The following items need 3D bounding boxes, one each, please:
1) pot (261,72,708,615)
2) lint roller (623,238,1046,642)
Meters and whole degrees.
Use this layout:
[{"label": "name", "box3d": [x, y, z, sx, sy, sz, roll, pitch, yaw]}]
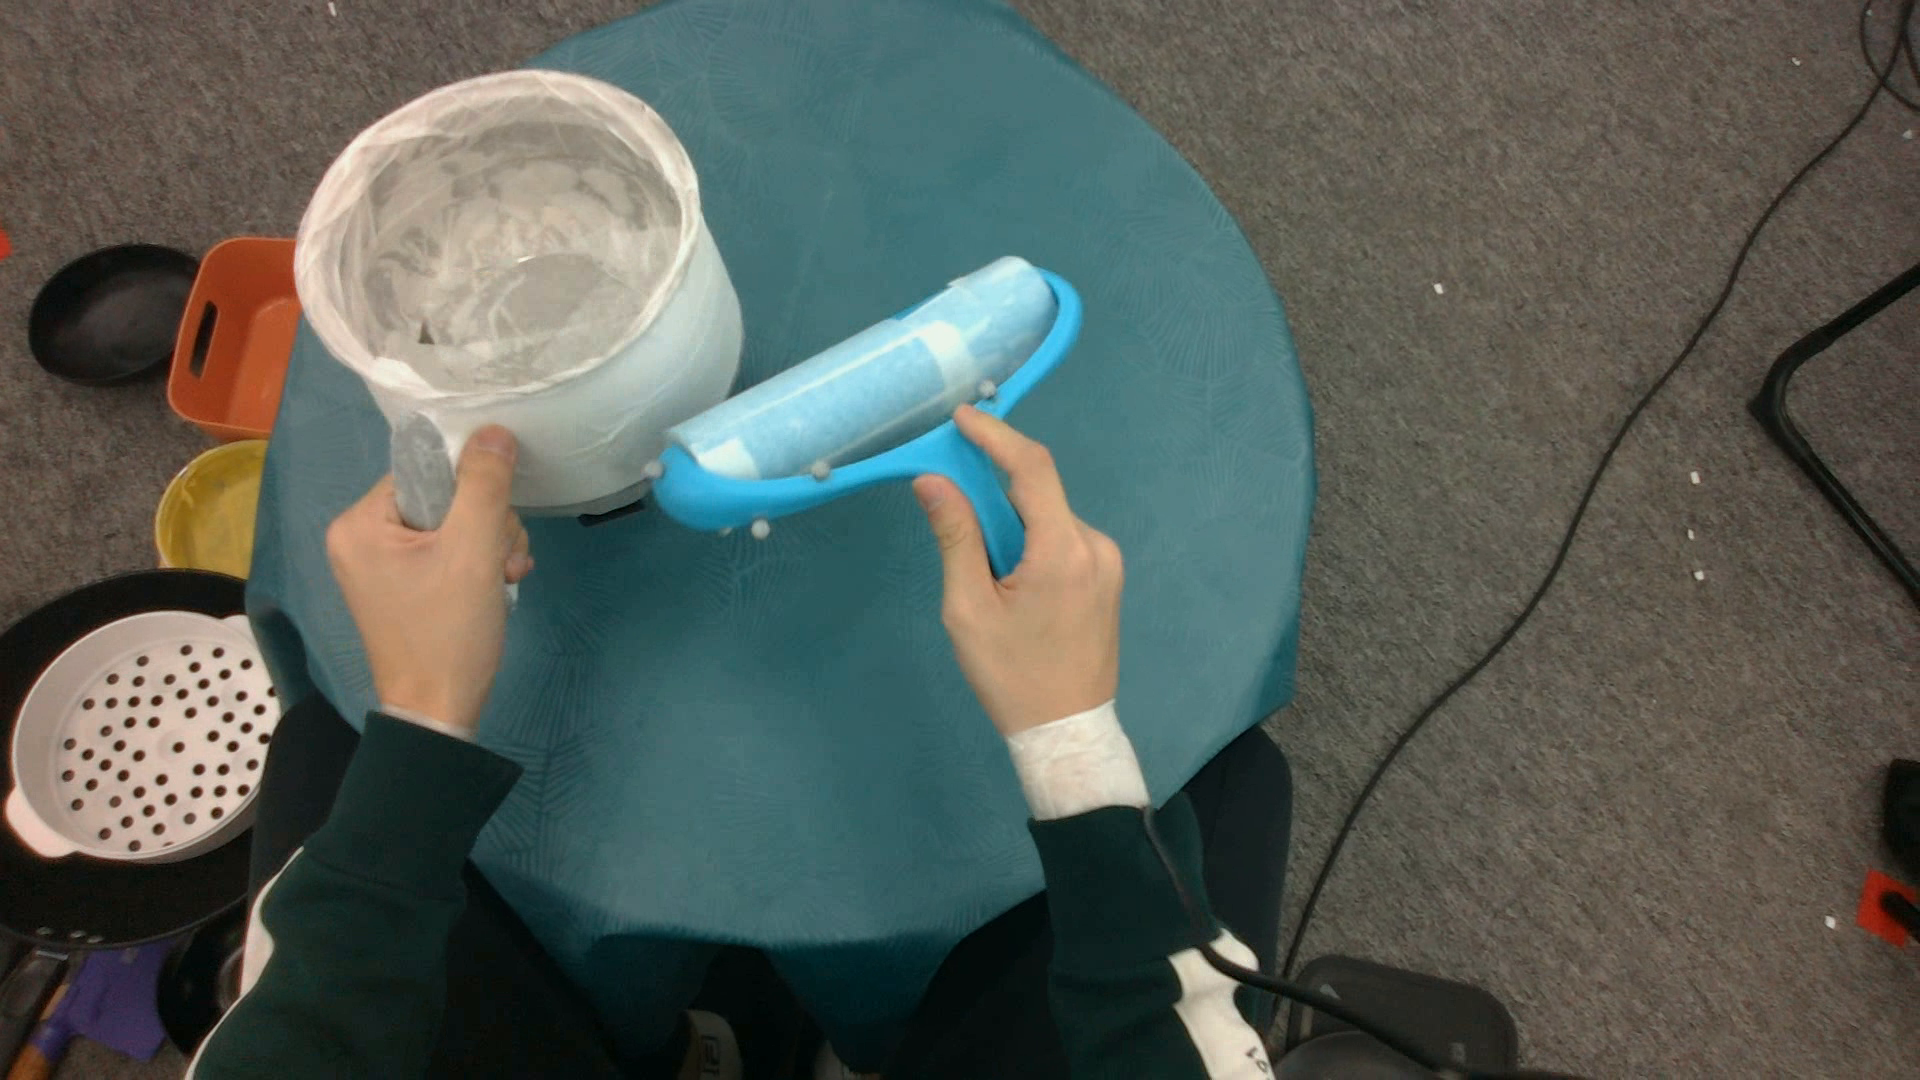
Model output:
[{"label": "pot", "box3d": [-0.220, -0.087, 0.649, 0.178, 0.136, 0.234, 7, 64, 4]}, {"label": "lint roller", "box3d": [-0.018, -0.036, 0.635, 0.230, 0.067, 0.180, -36, 75, -25]}]
